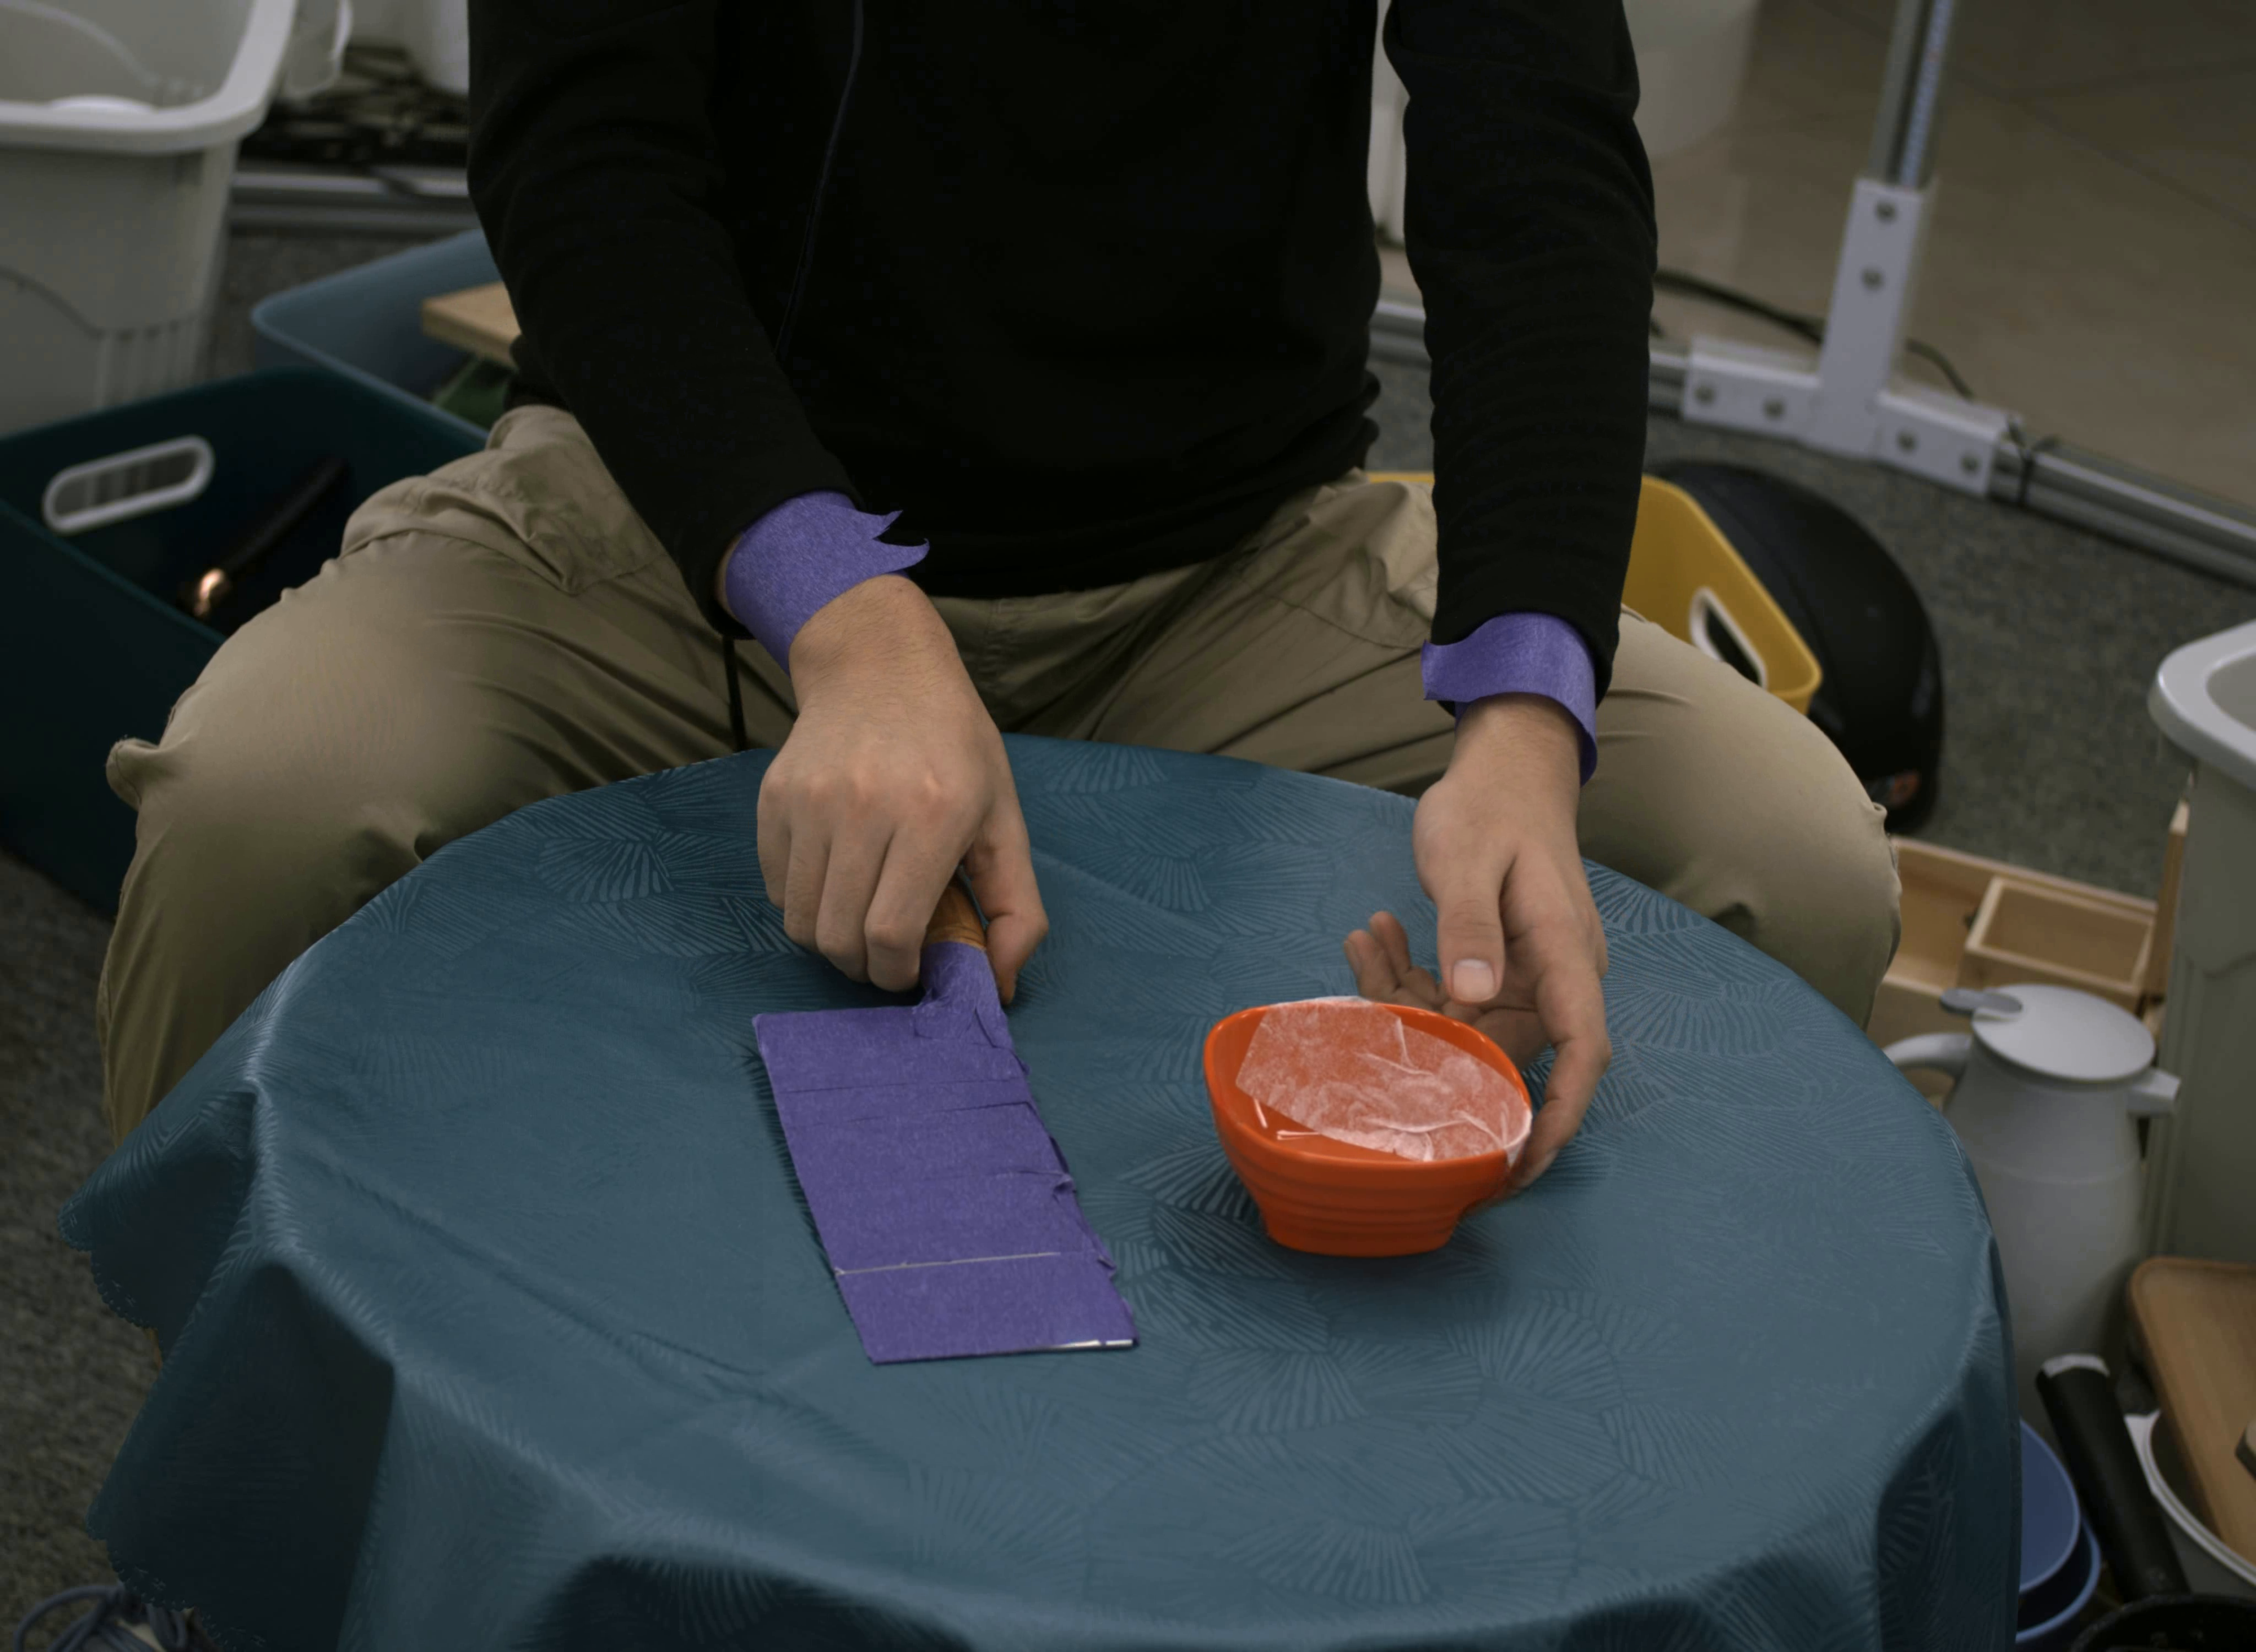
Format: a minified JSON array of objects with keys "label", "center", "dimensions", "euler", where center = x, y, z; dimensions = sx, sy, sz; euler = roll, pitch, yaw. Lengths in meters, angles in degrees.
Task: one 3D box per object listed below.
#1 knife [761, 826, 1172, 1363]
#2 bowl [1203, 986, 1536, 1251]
[{"label":"knife","center":[-0.074,0.087,1.831],"dimensions":[0.103,0.032,0.318],"euler":[-1,29,-16]},{"label":"bowl","center":[0.078,0.104,1.799],"dimensions":[0.118,0.051,0.120],"euler":[4,30,-3]}]
